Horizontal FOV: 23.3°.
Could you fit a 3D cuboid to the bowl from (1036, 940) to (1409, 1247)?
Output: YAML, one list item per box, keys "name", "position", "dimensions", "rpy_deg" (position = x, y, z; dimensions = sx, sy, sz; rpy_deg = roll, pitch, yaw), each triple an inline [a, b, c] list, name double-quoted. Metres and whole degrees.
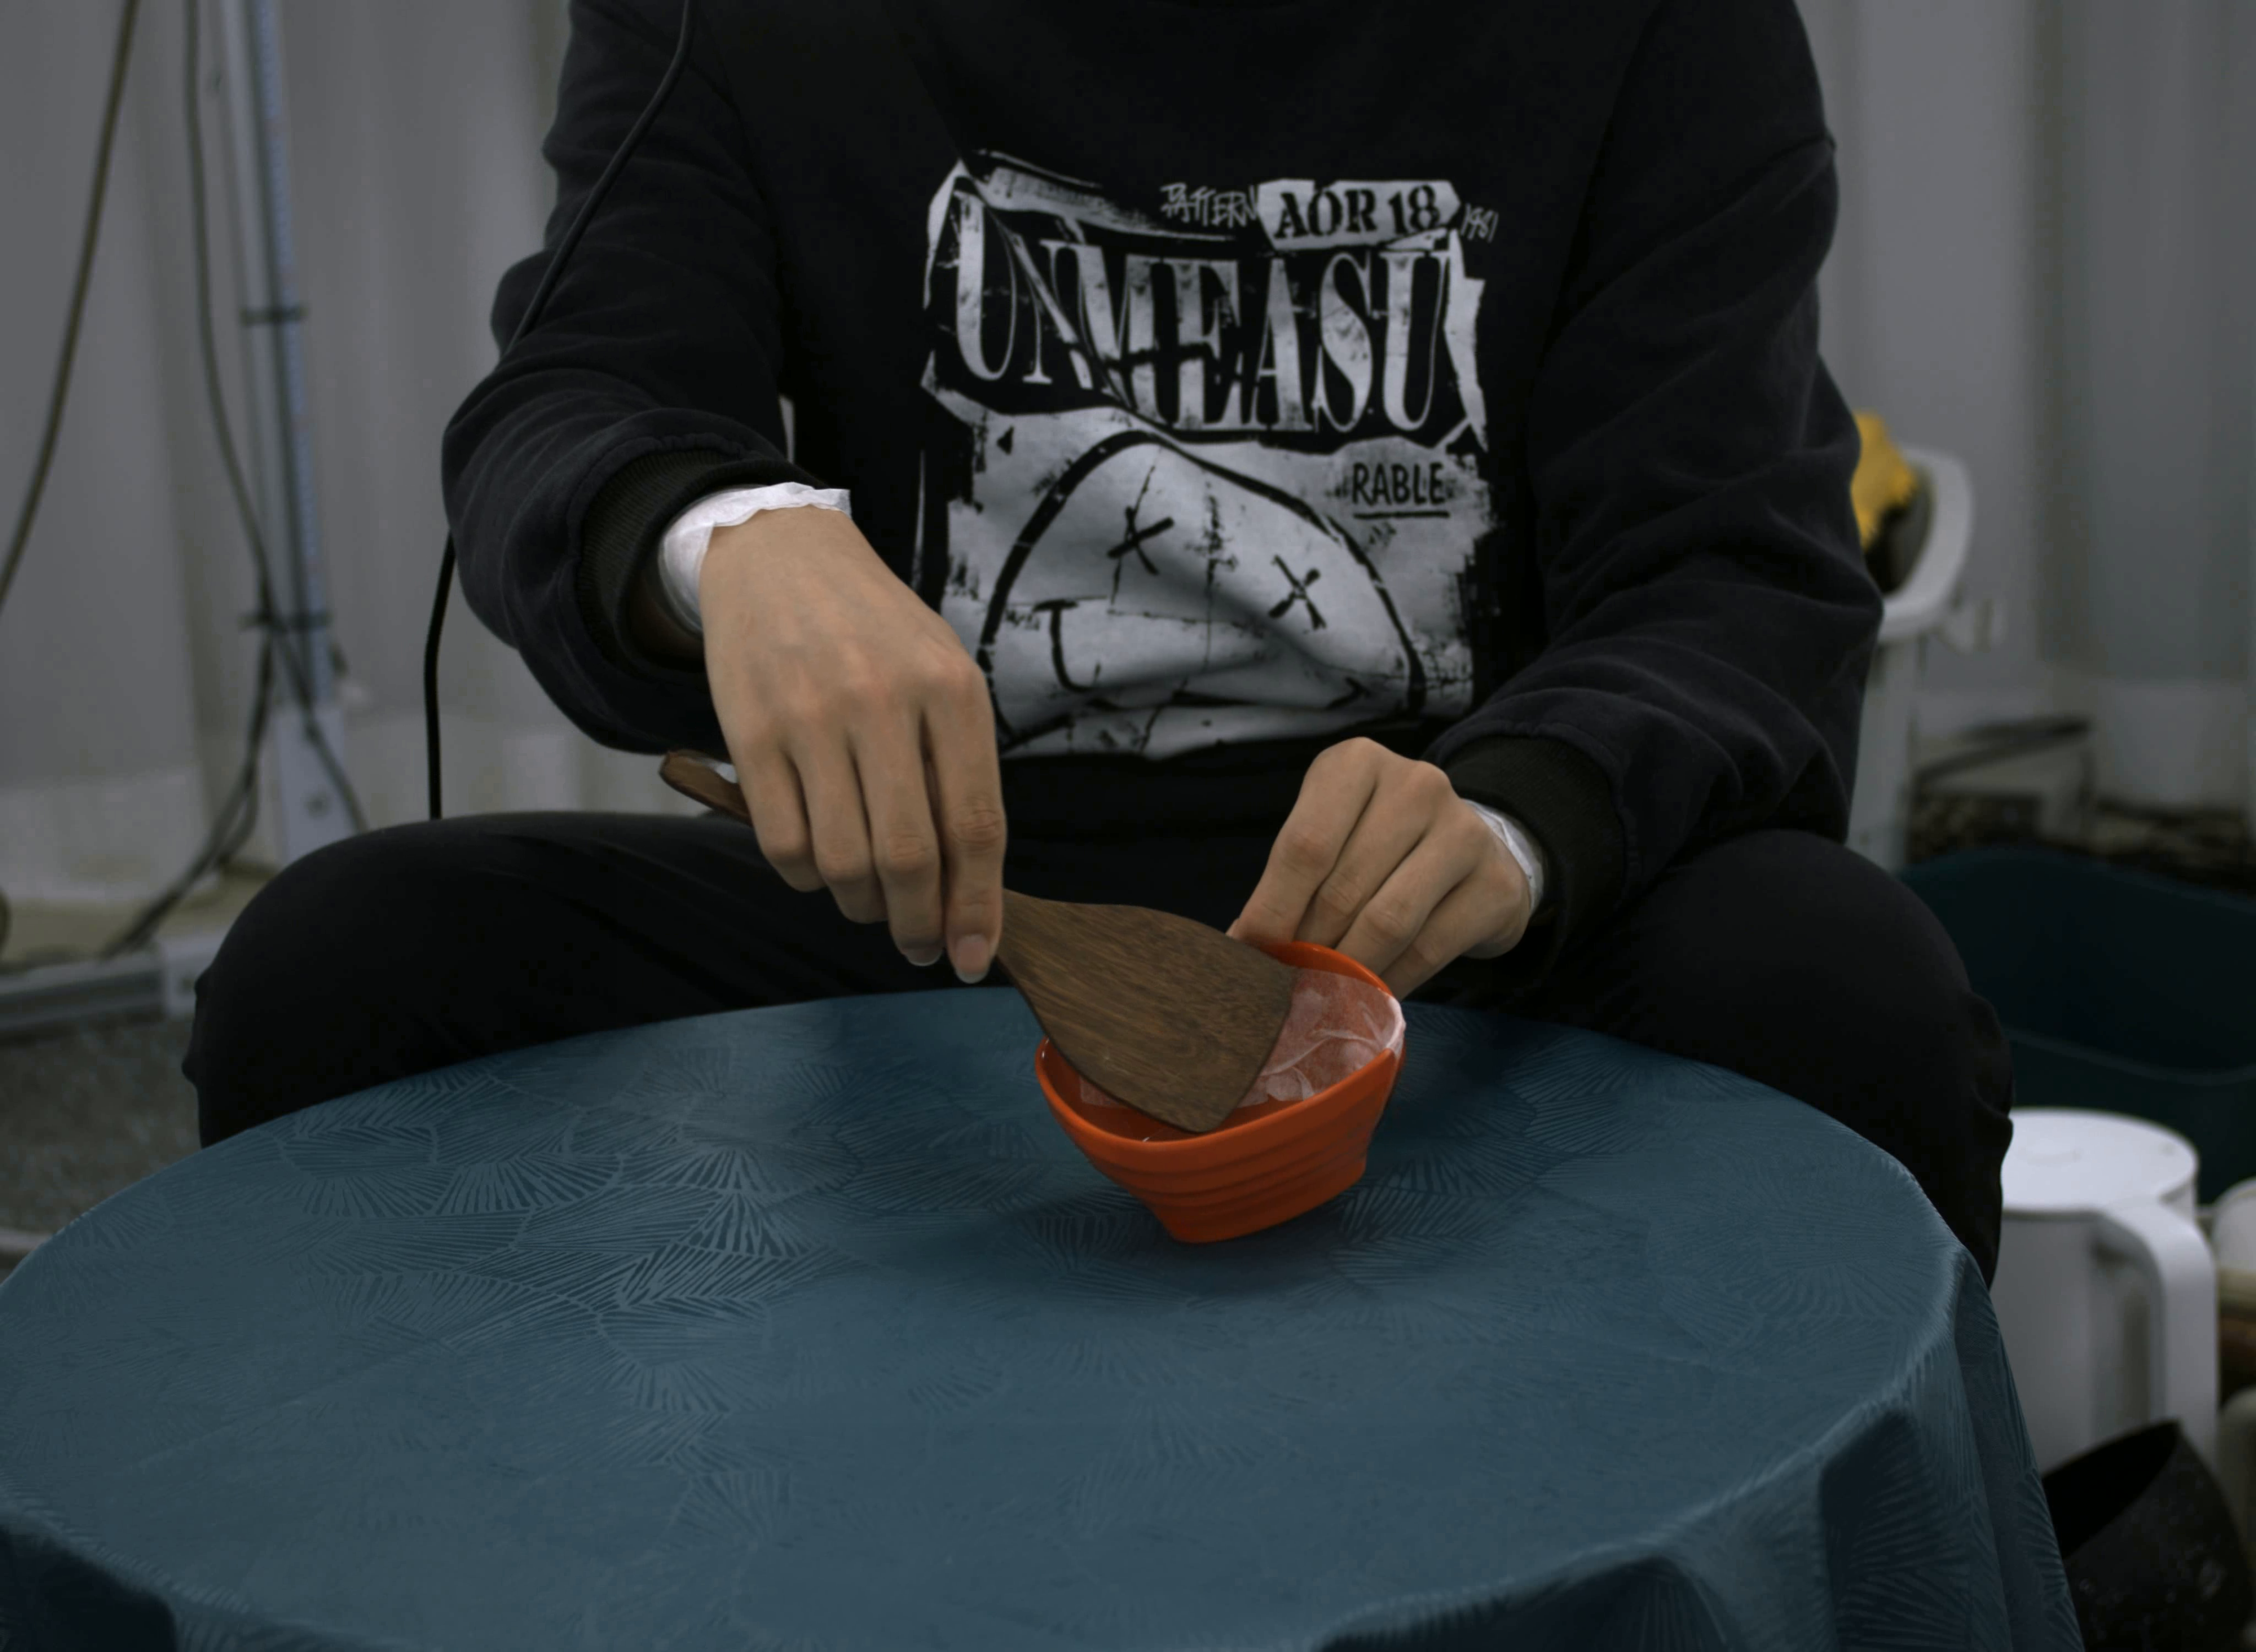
- name: "bowl"
  position: [0.033, 0.087, 1.684]
  dimensions: [0.118, 0.051, 0.120]
  rpy_deg: [-12, 28, 6]

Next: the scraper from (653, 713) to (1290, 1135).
- name: "scraper"
  position: [-0.052, 0.023, 1.689]
  dimensions: [0.211, 0.011, 0.076]
  rpy_deg: [29, 54, 5]
